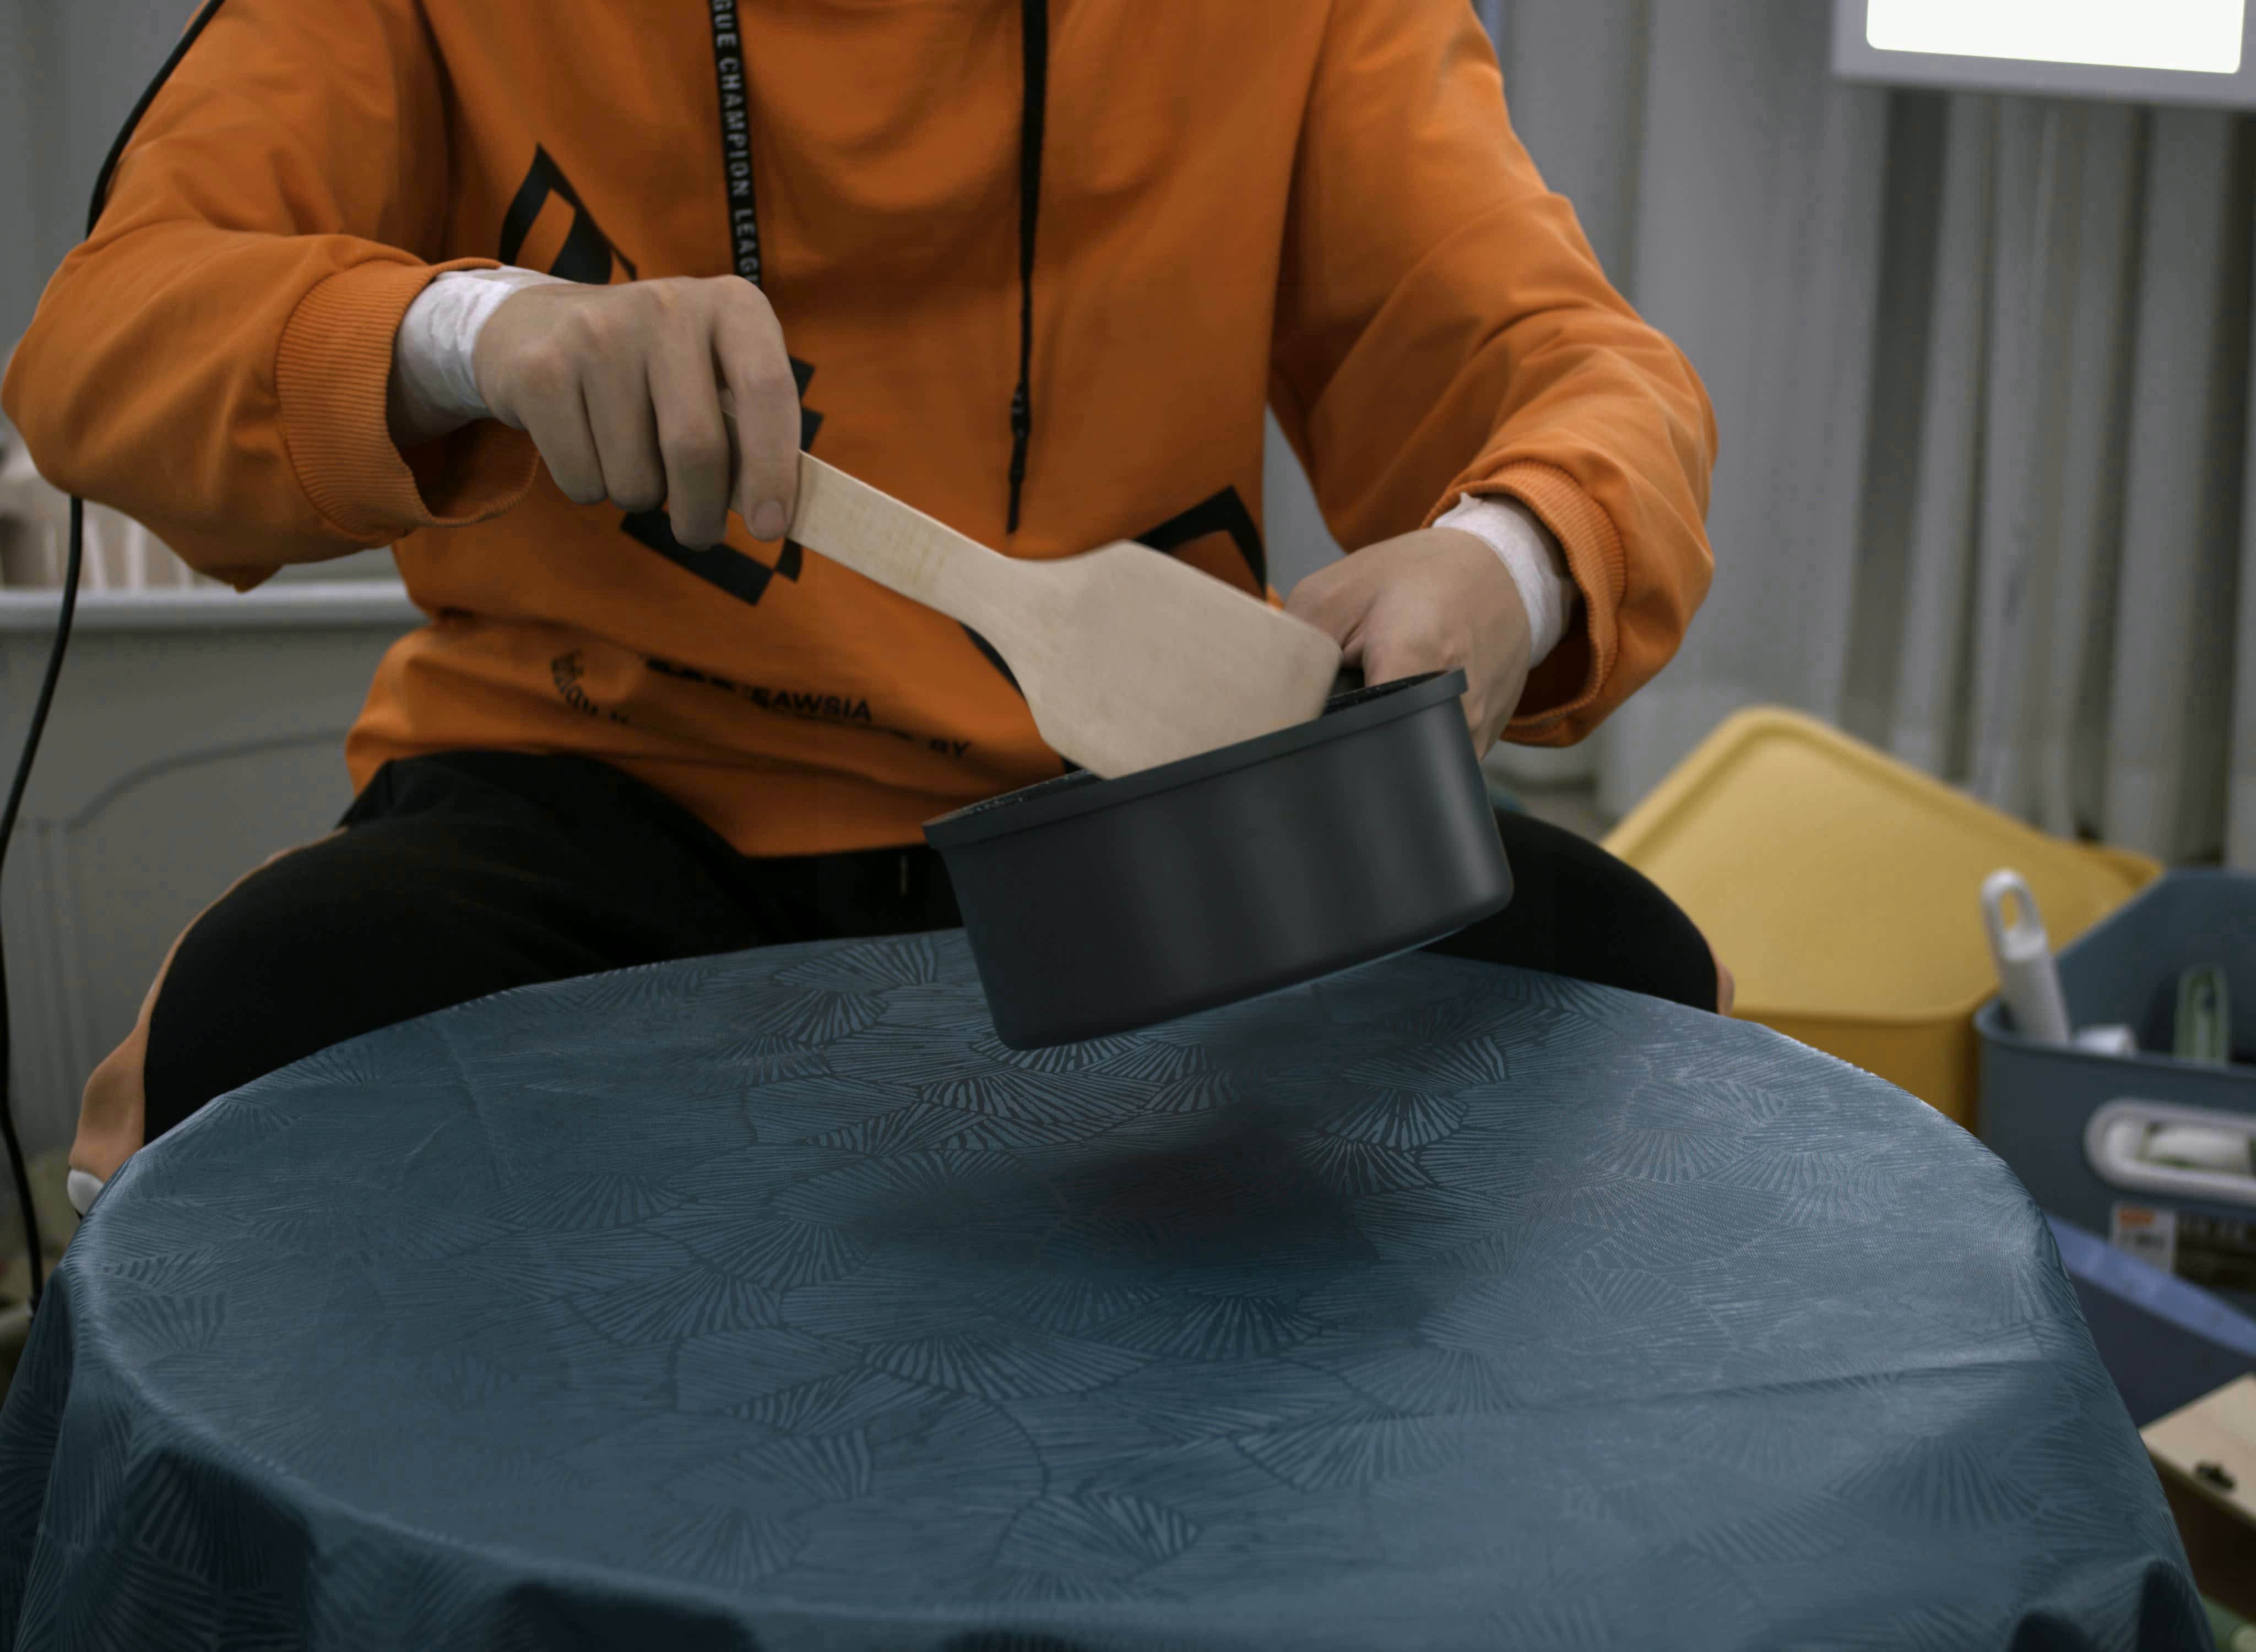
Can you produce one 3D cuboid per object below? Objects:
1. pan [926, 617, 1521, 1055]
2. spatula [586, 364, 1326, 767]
[{"bbox_3d":[0.054,-0.003,1.663,0.171,0.087,0.329,-14,5,20],"label":"pan"},{"bbox_3d":[-0.063,-0.085,1.628,0.289,0.072,0.011,27,12,31],"label":"spatula"}]
